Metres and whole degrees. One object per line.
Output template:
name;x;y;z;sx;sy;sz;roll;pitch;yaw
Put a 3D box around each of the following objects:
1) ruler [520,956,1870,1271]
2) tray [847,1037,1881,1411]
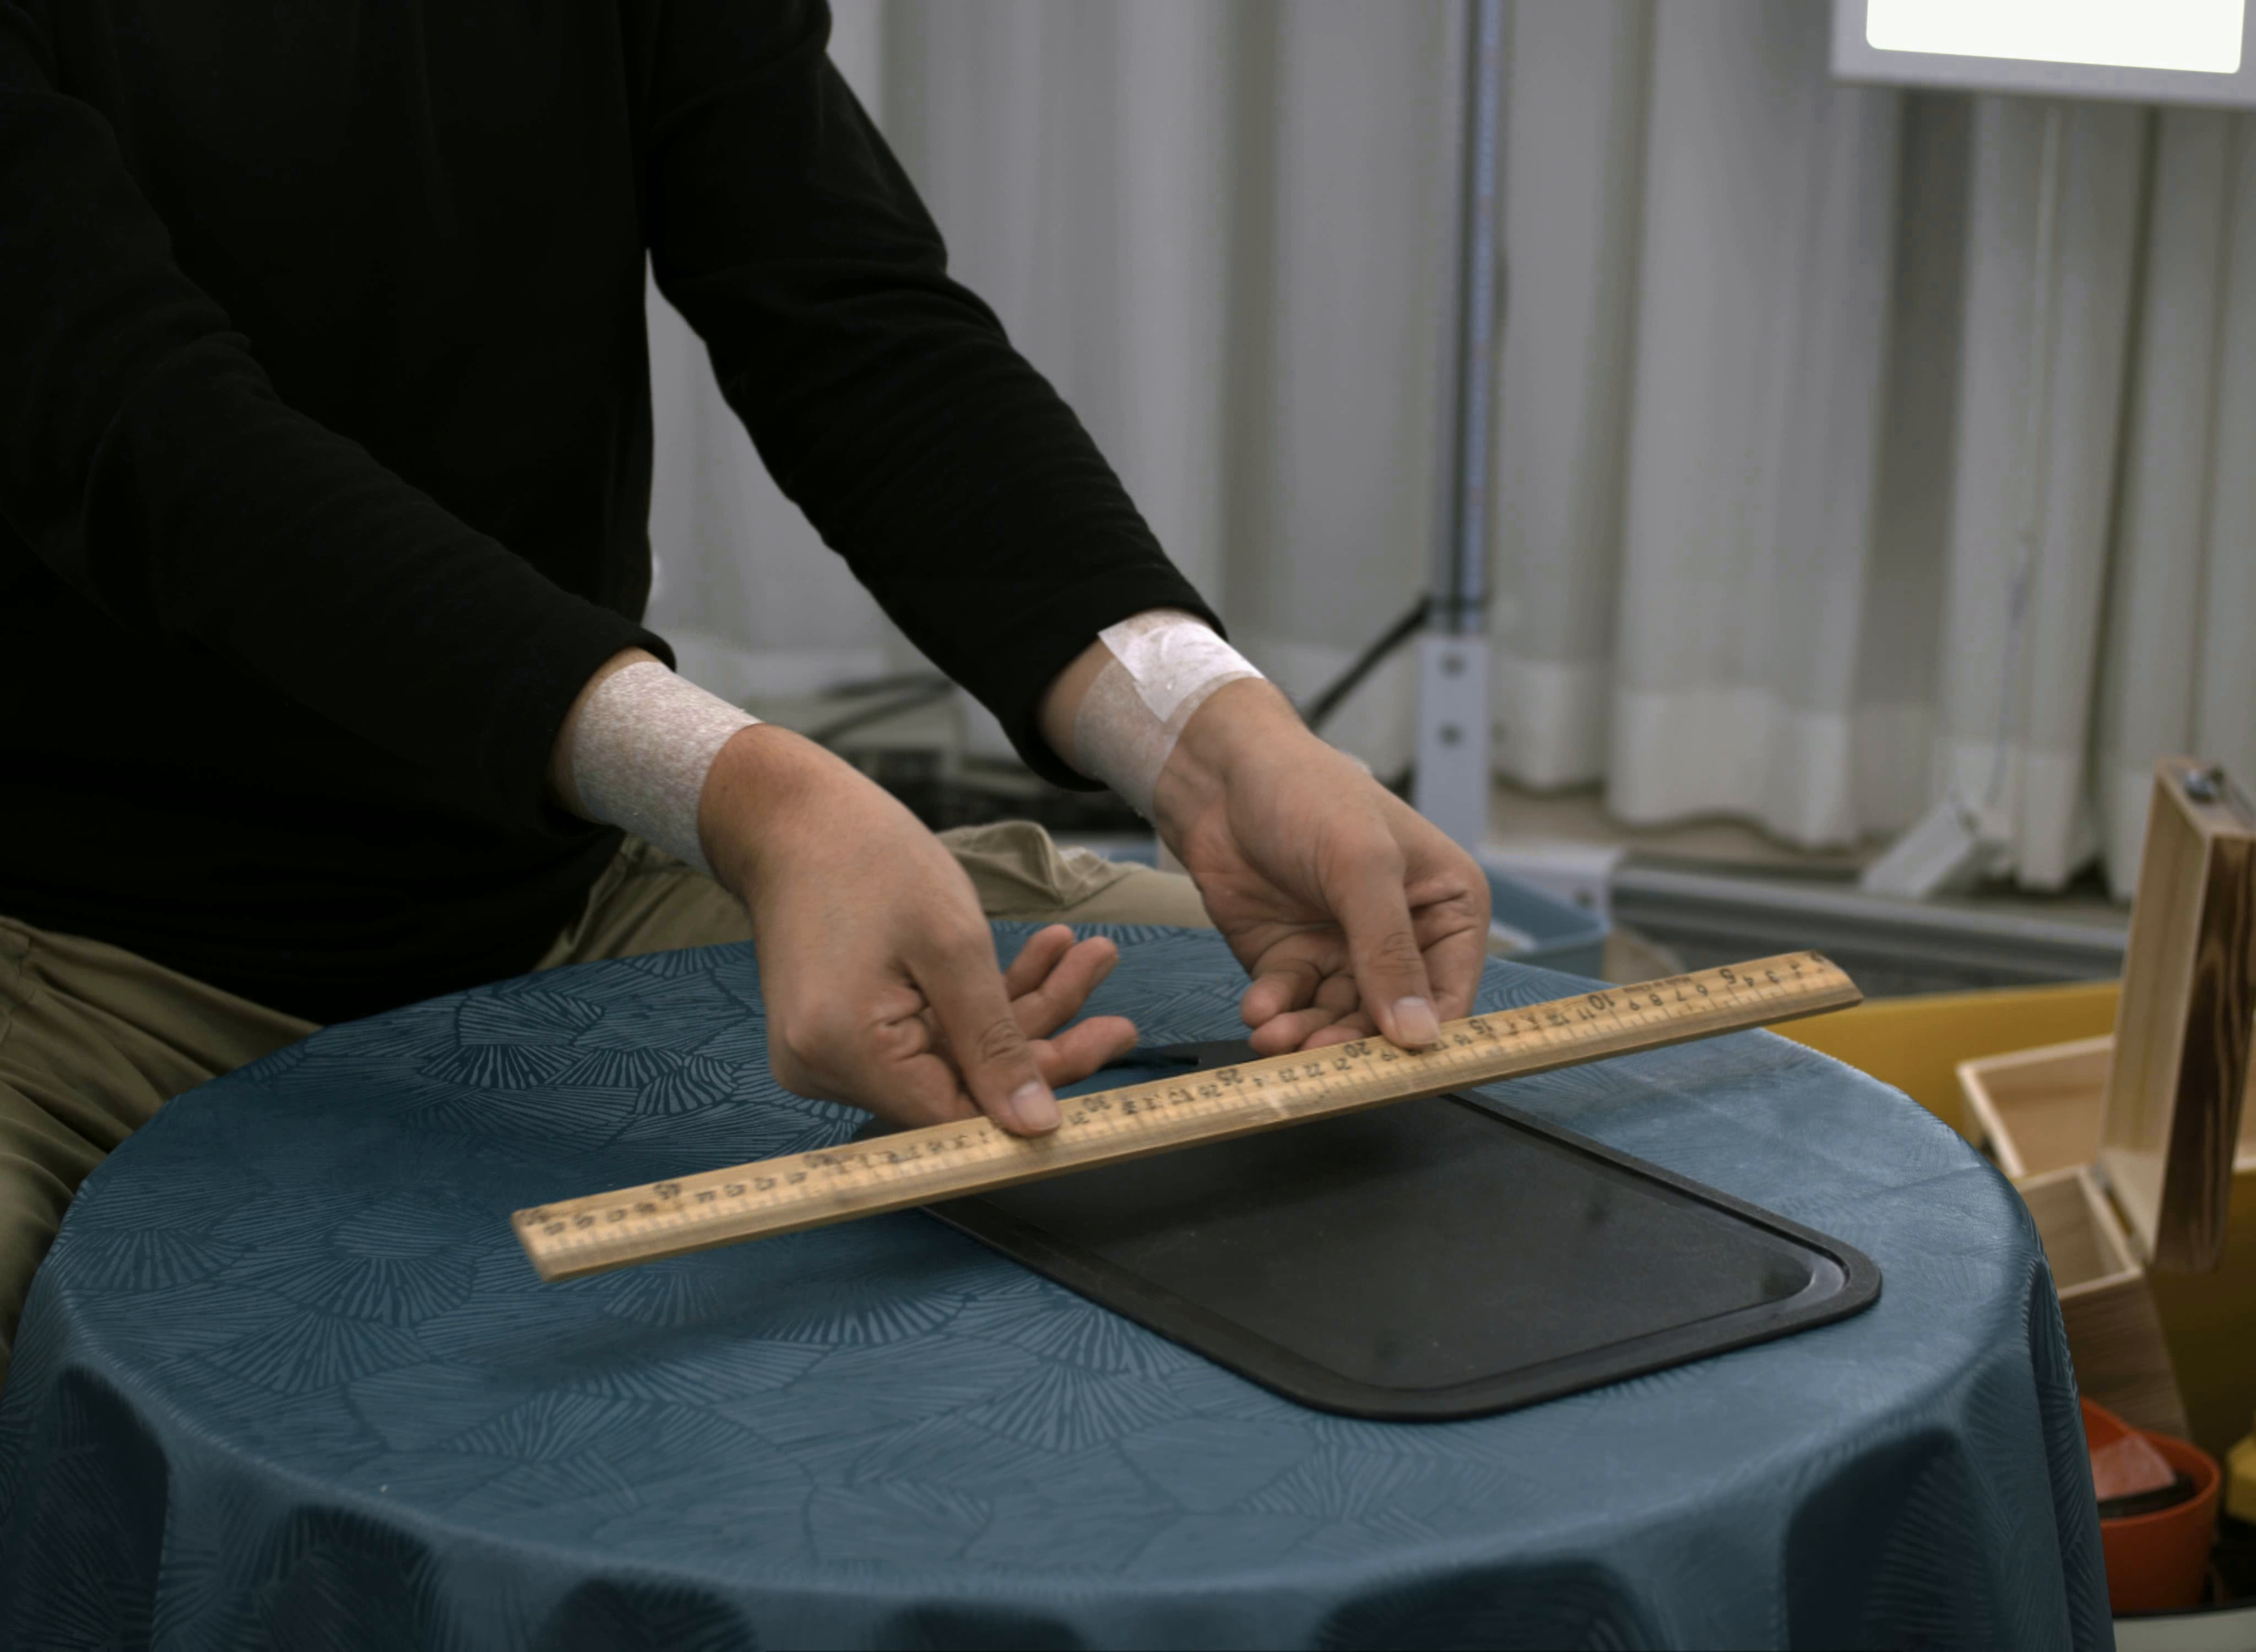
ruler;0.037;0.083;1.614;0.503;0.006;0.026;-9;49;-35
tray;0.061;0.113;1.604;0.212;0.010;0.321;-10;19;-34
